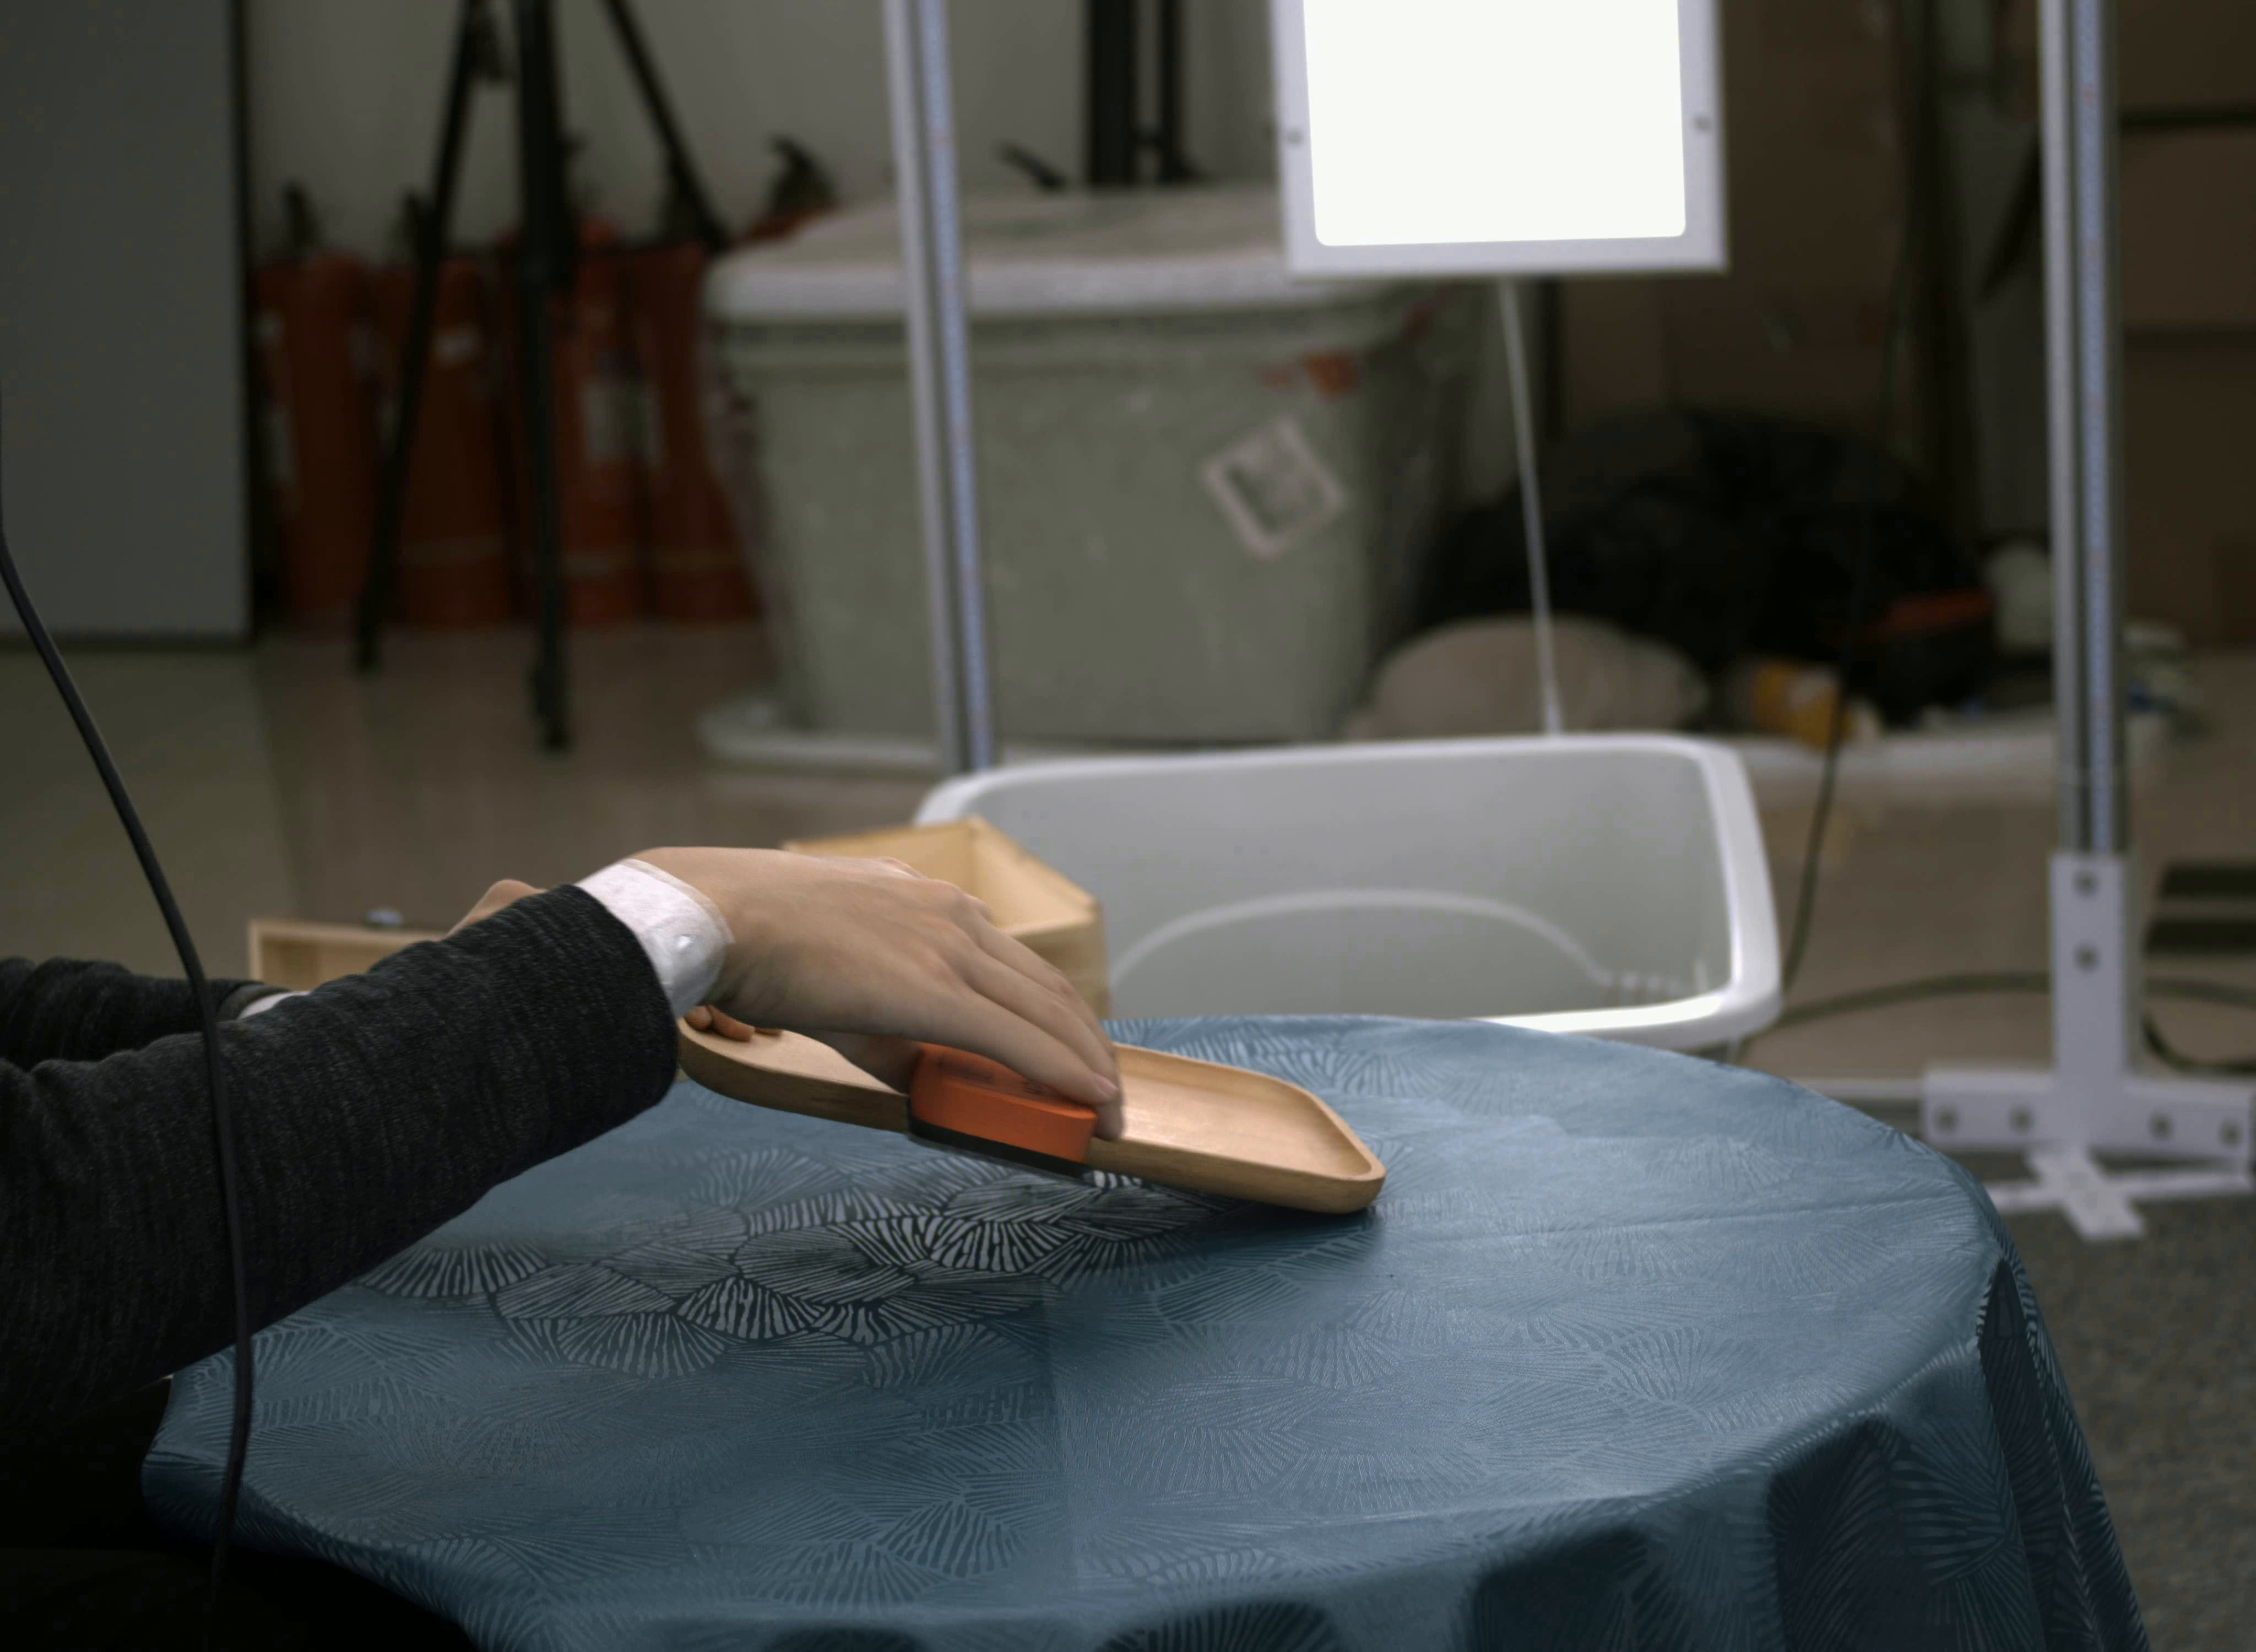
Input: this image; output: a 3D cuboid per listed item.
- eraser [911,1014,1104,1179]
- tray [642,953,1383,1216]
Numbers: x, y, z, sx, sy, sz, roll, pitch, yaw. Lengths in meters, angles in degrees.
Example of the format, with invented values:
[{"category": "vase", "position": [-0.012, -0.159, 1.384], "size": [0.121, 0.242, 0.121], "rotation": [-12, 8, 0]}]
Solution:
[{"category": "eraser", "position": [-0.038, 0.087, 1.782], "size": [0.059, 0.023, 0.107], "rotation": [11, 10, -1]}, {"category": "tray", "position": [-0.040, 0.088, 1.868], "size": [0.247, 0.023, 0.131], "rotation": [11, 9, -14]}]
